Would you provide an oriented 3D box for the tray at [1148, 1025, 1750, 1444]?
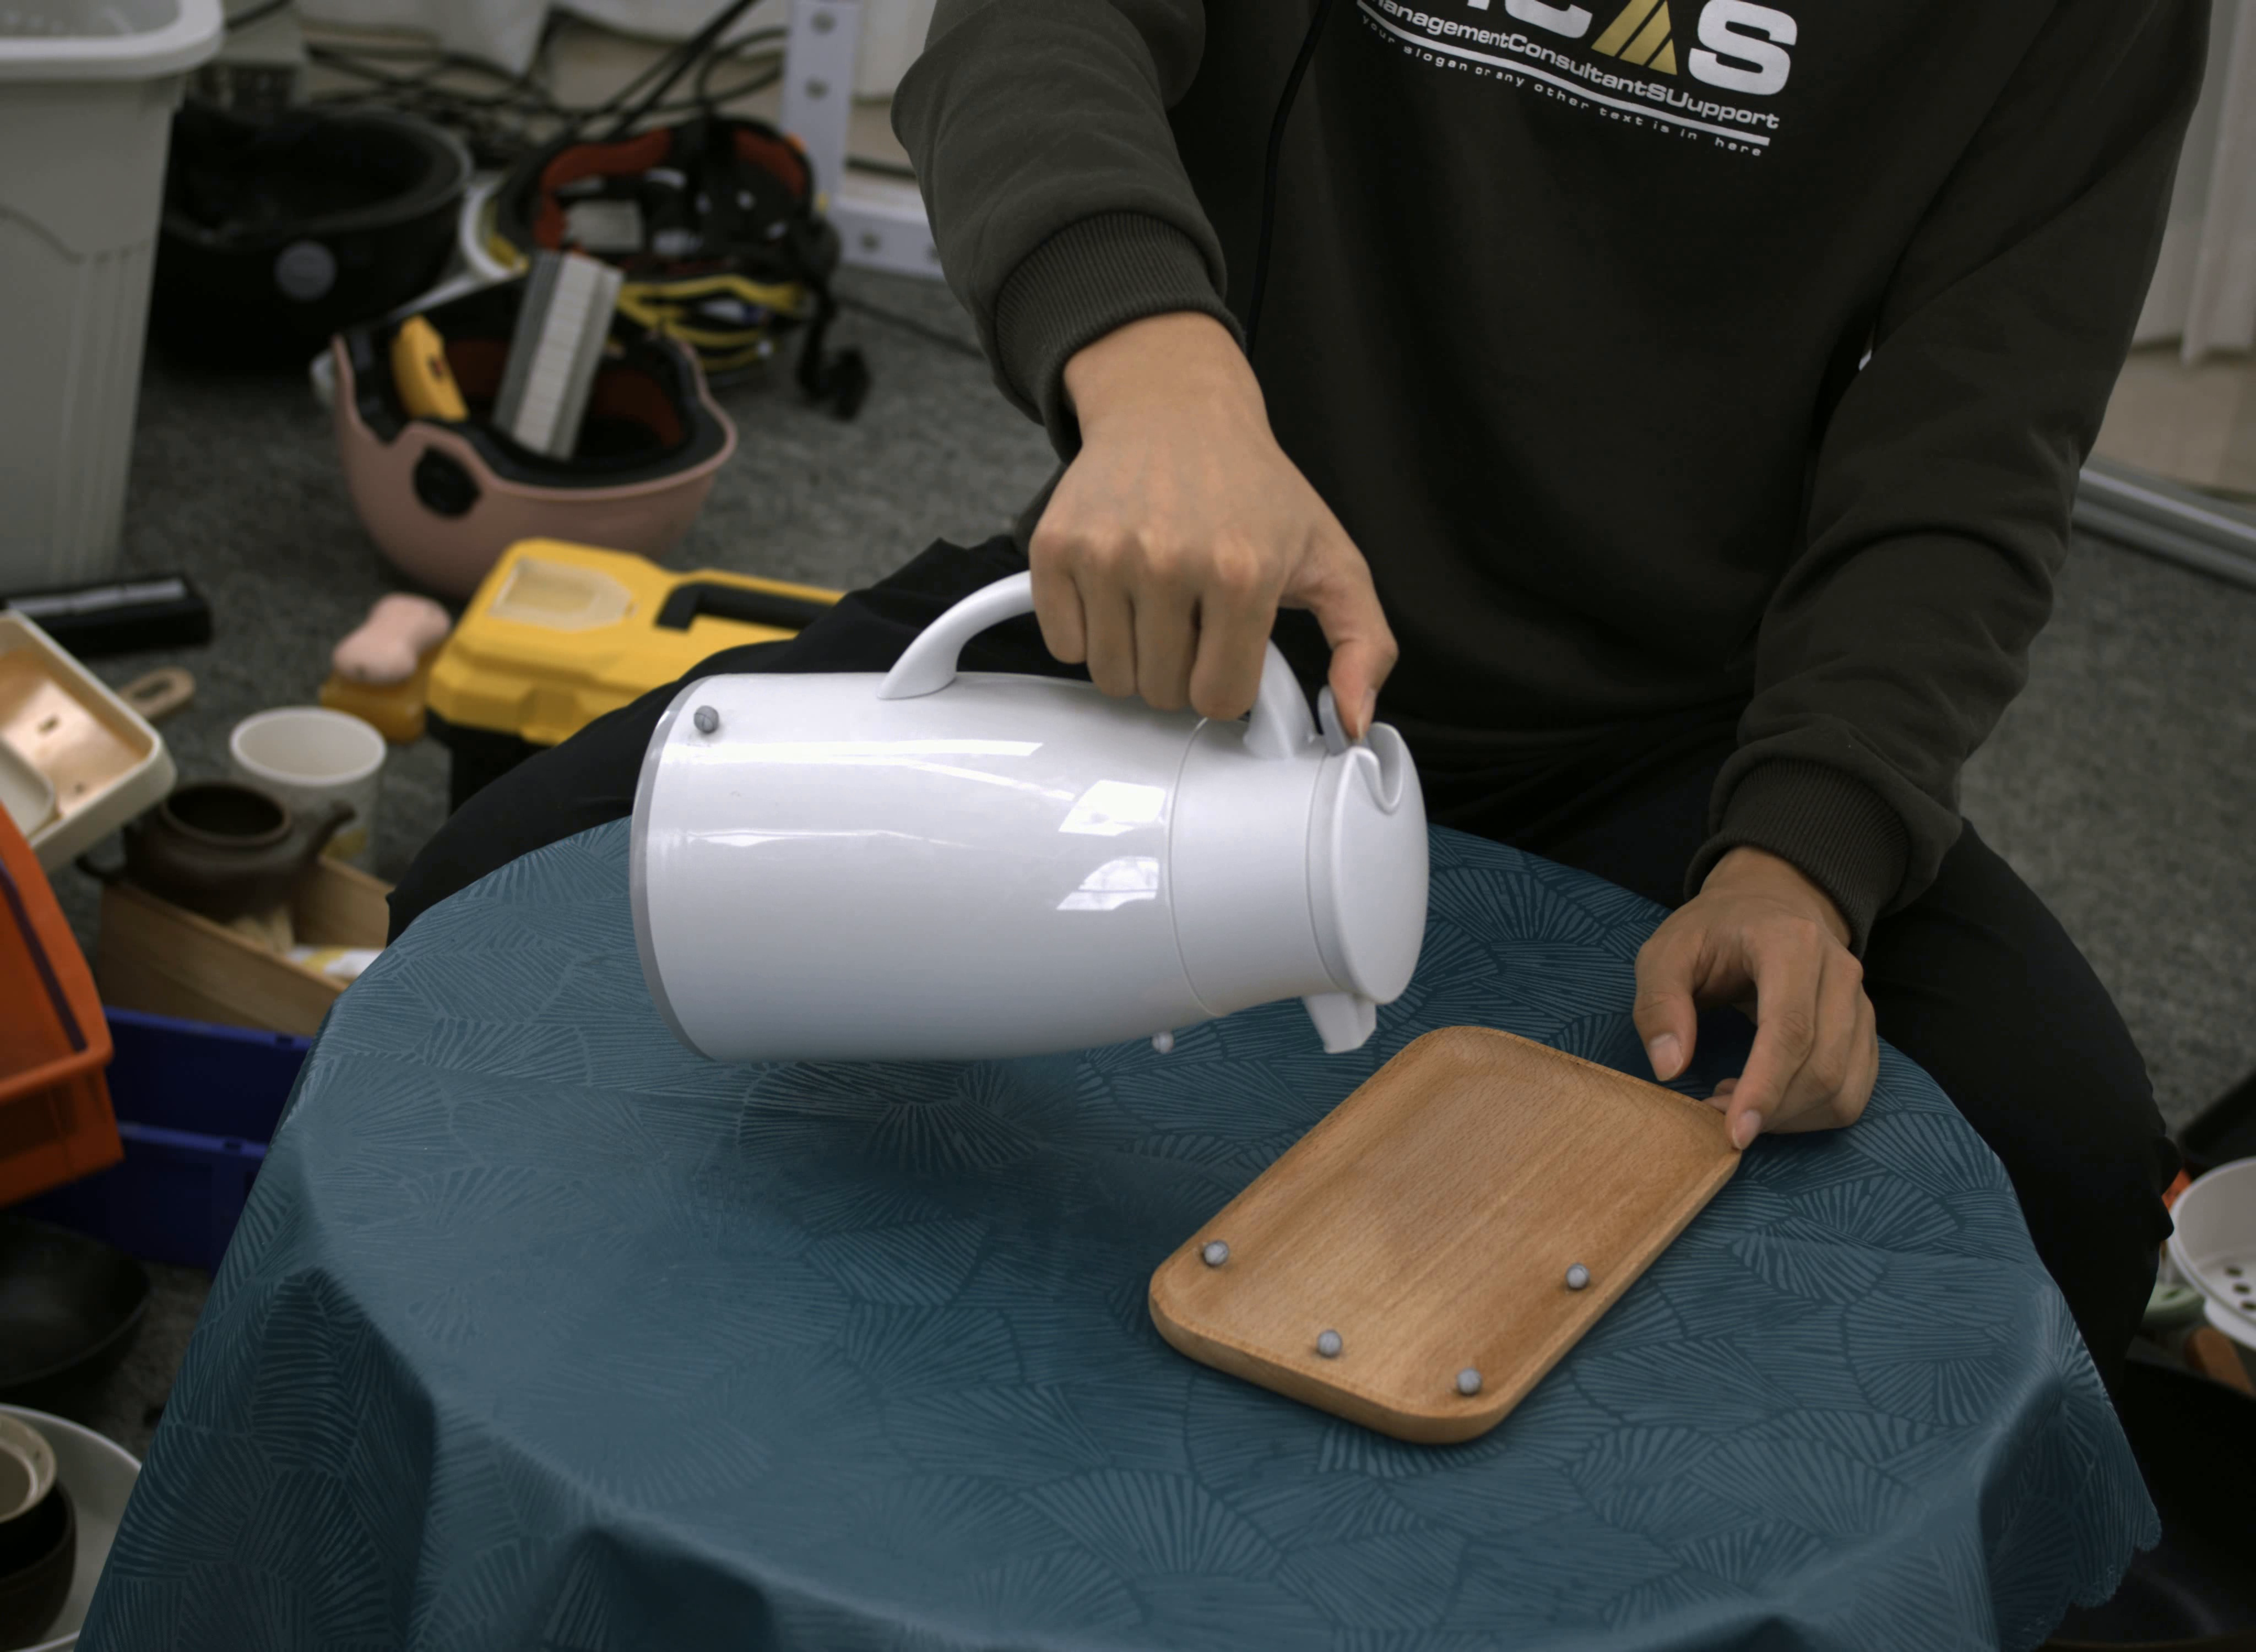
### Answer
[{"bbox_3d":[0.111,0.135,1.793,0.131,0.023,0.250,22,29,22],"label":"tray"}]

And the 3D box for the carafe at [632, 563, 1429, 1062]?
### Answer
[{"bbox_3d":[-0.028,-0.004,1.757,0.249,0.167,0.132,0,21,23],"label":"carafe"}]
